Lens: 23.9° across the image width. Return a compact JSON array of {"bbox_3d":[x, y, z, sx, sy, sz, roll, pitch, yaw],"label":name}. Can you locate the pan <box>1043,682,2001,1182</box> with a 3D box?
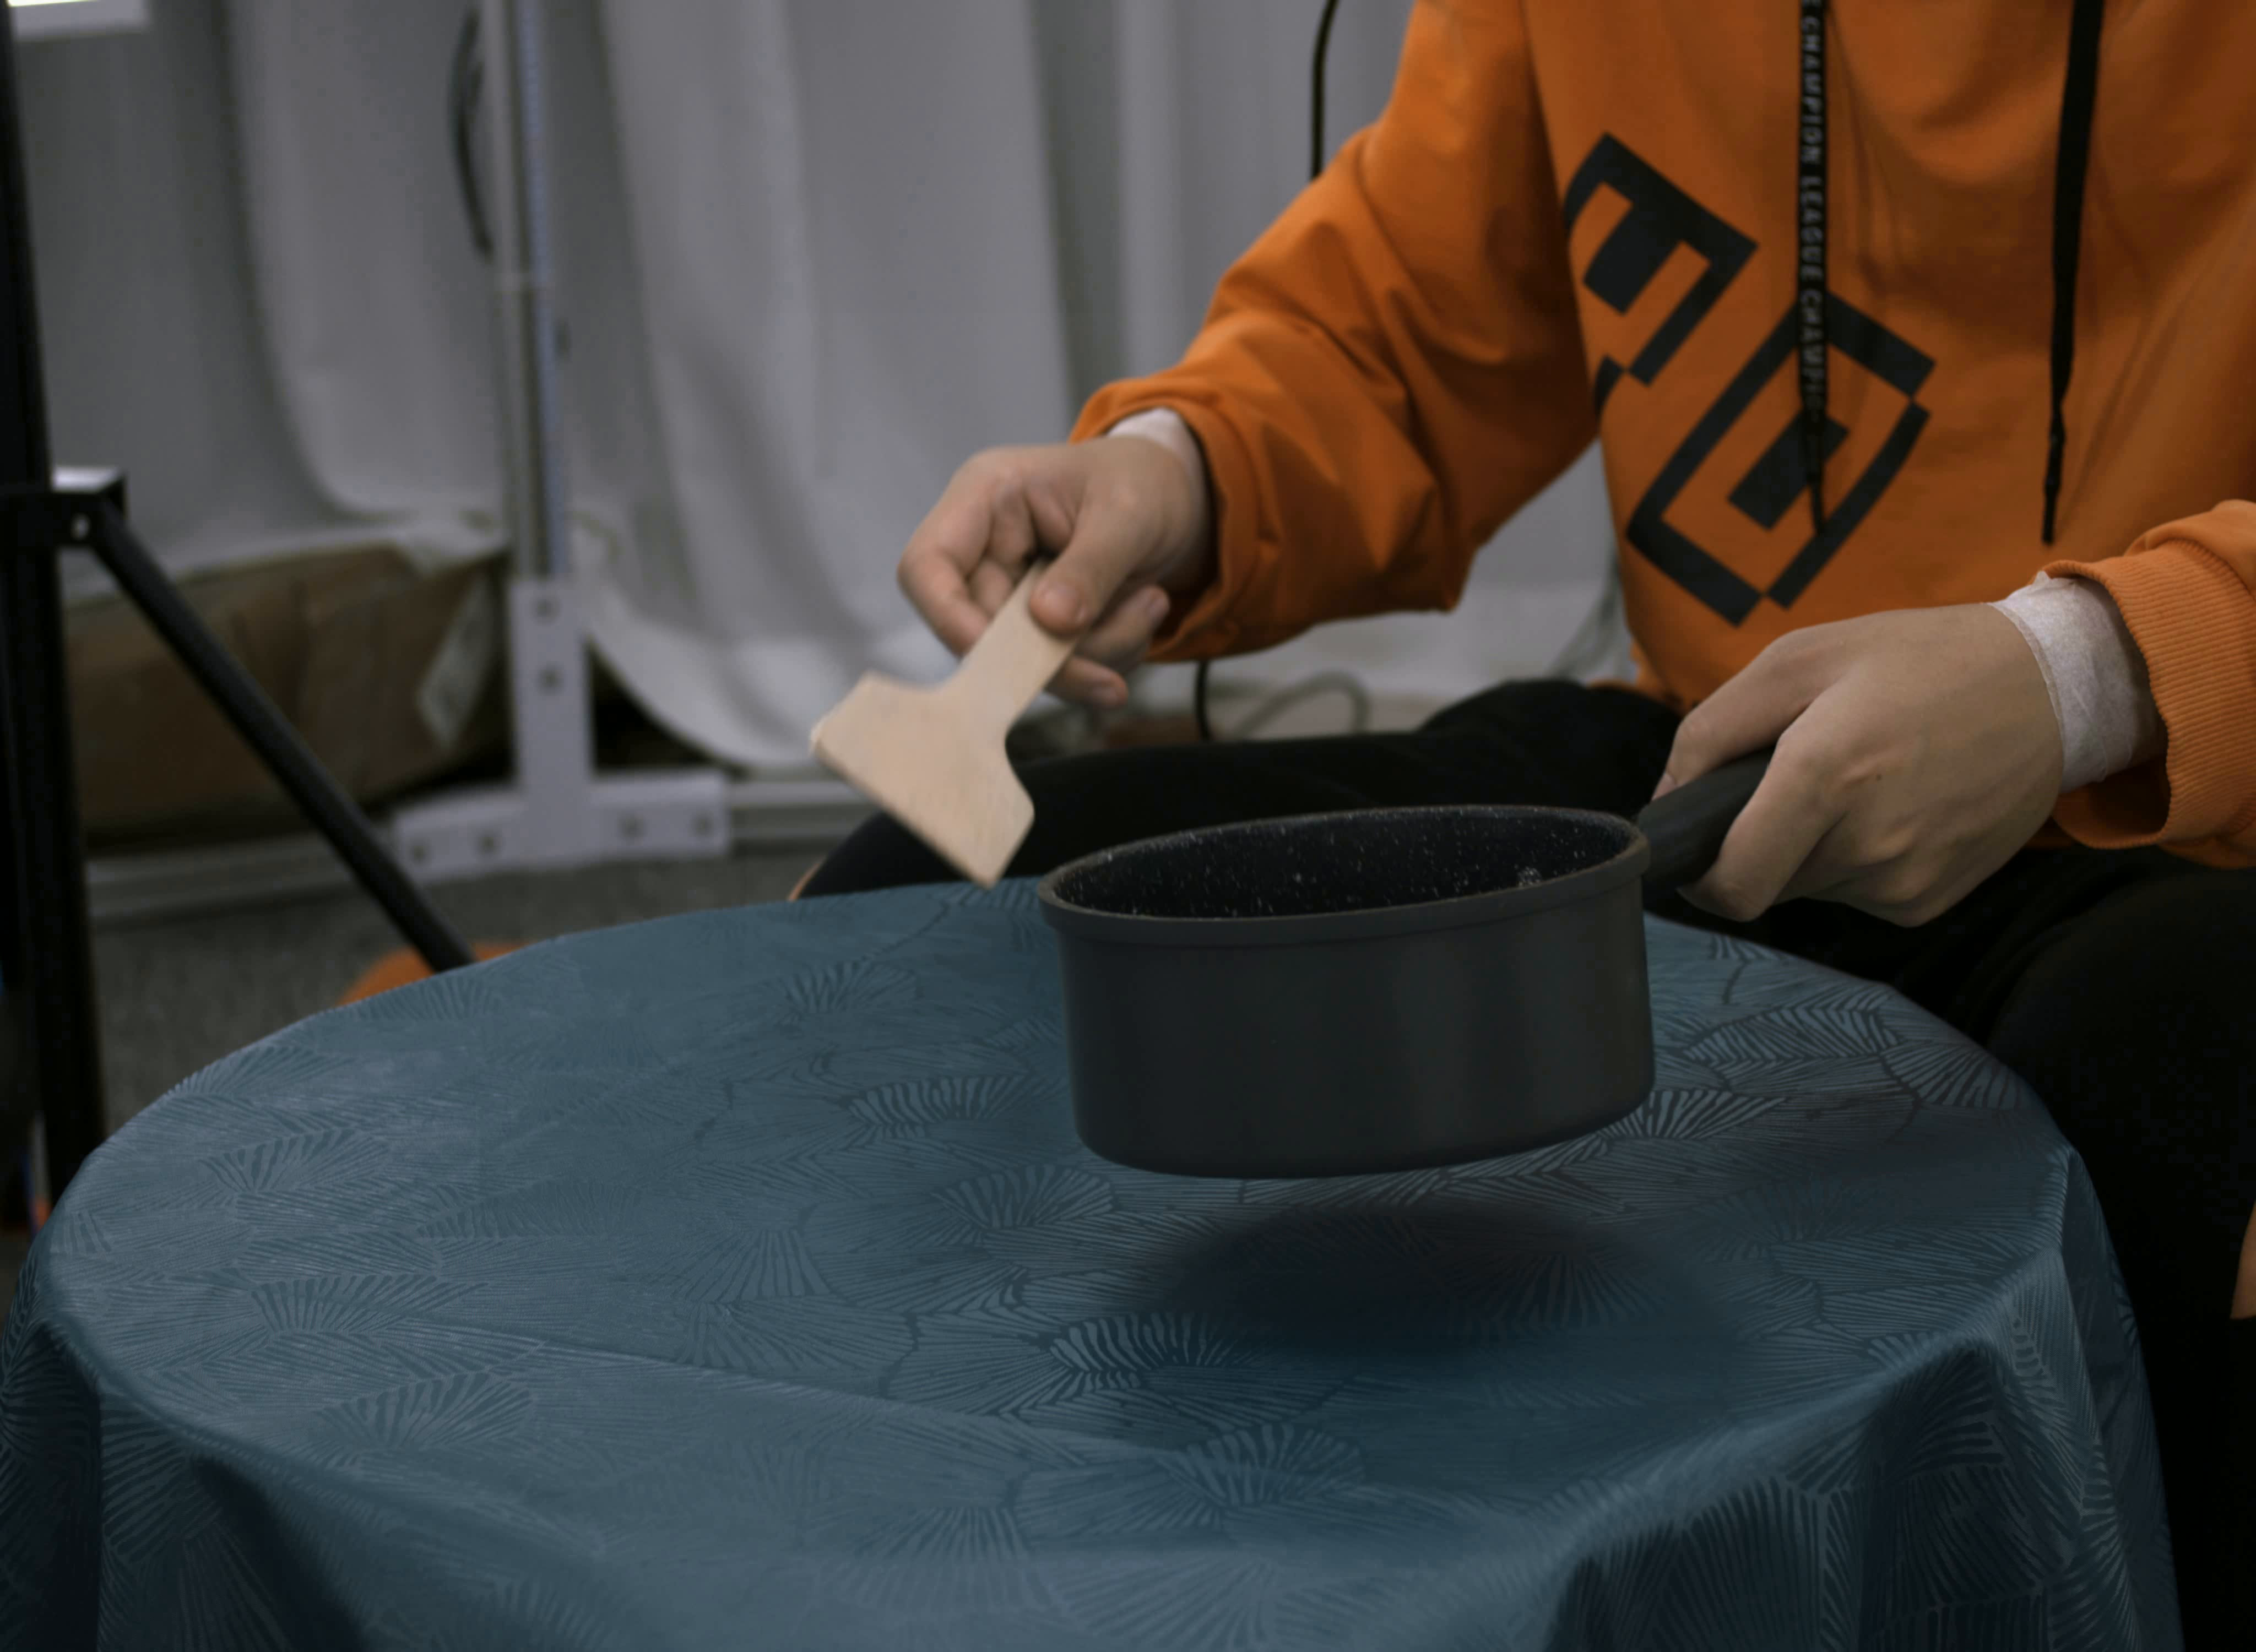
[{"bbox_3d":[0.127,0.030,1.514,0.321,0.086,0.176,-13,11,-34],"label":"pan"}]

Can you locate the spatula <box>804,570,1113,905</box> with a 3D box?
[{"bbox_3d":[-0.044,-0.039,1.719,0.072,0.011,0.291,35,21,-1],"label":"spatula"}]
